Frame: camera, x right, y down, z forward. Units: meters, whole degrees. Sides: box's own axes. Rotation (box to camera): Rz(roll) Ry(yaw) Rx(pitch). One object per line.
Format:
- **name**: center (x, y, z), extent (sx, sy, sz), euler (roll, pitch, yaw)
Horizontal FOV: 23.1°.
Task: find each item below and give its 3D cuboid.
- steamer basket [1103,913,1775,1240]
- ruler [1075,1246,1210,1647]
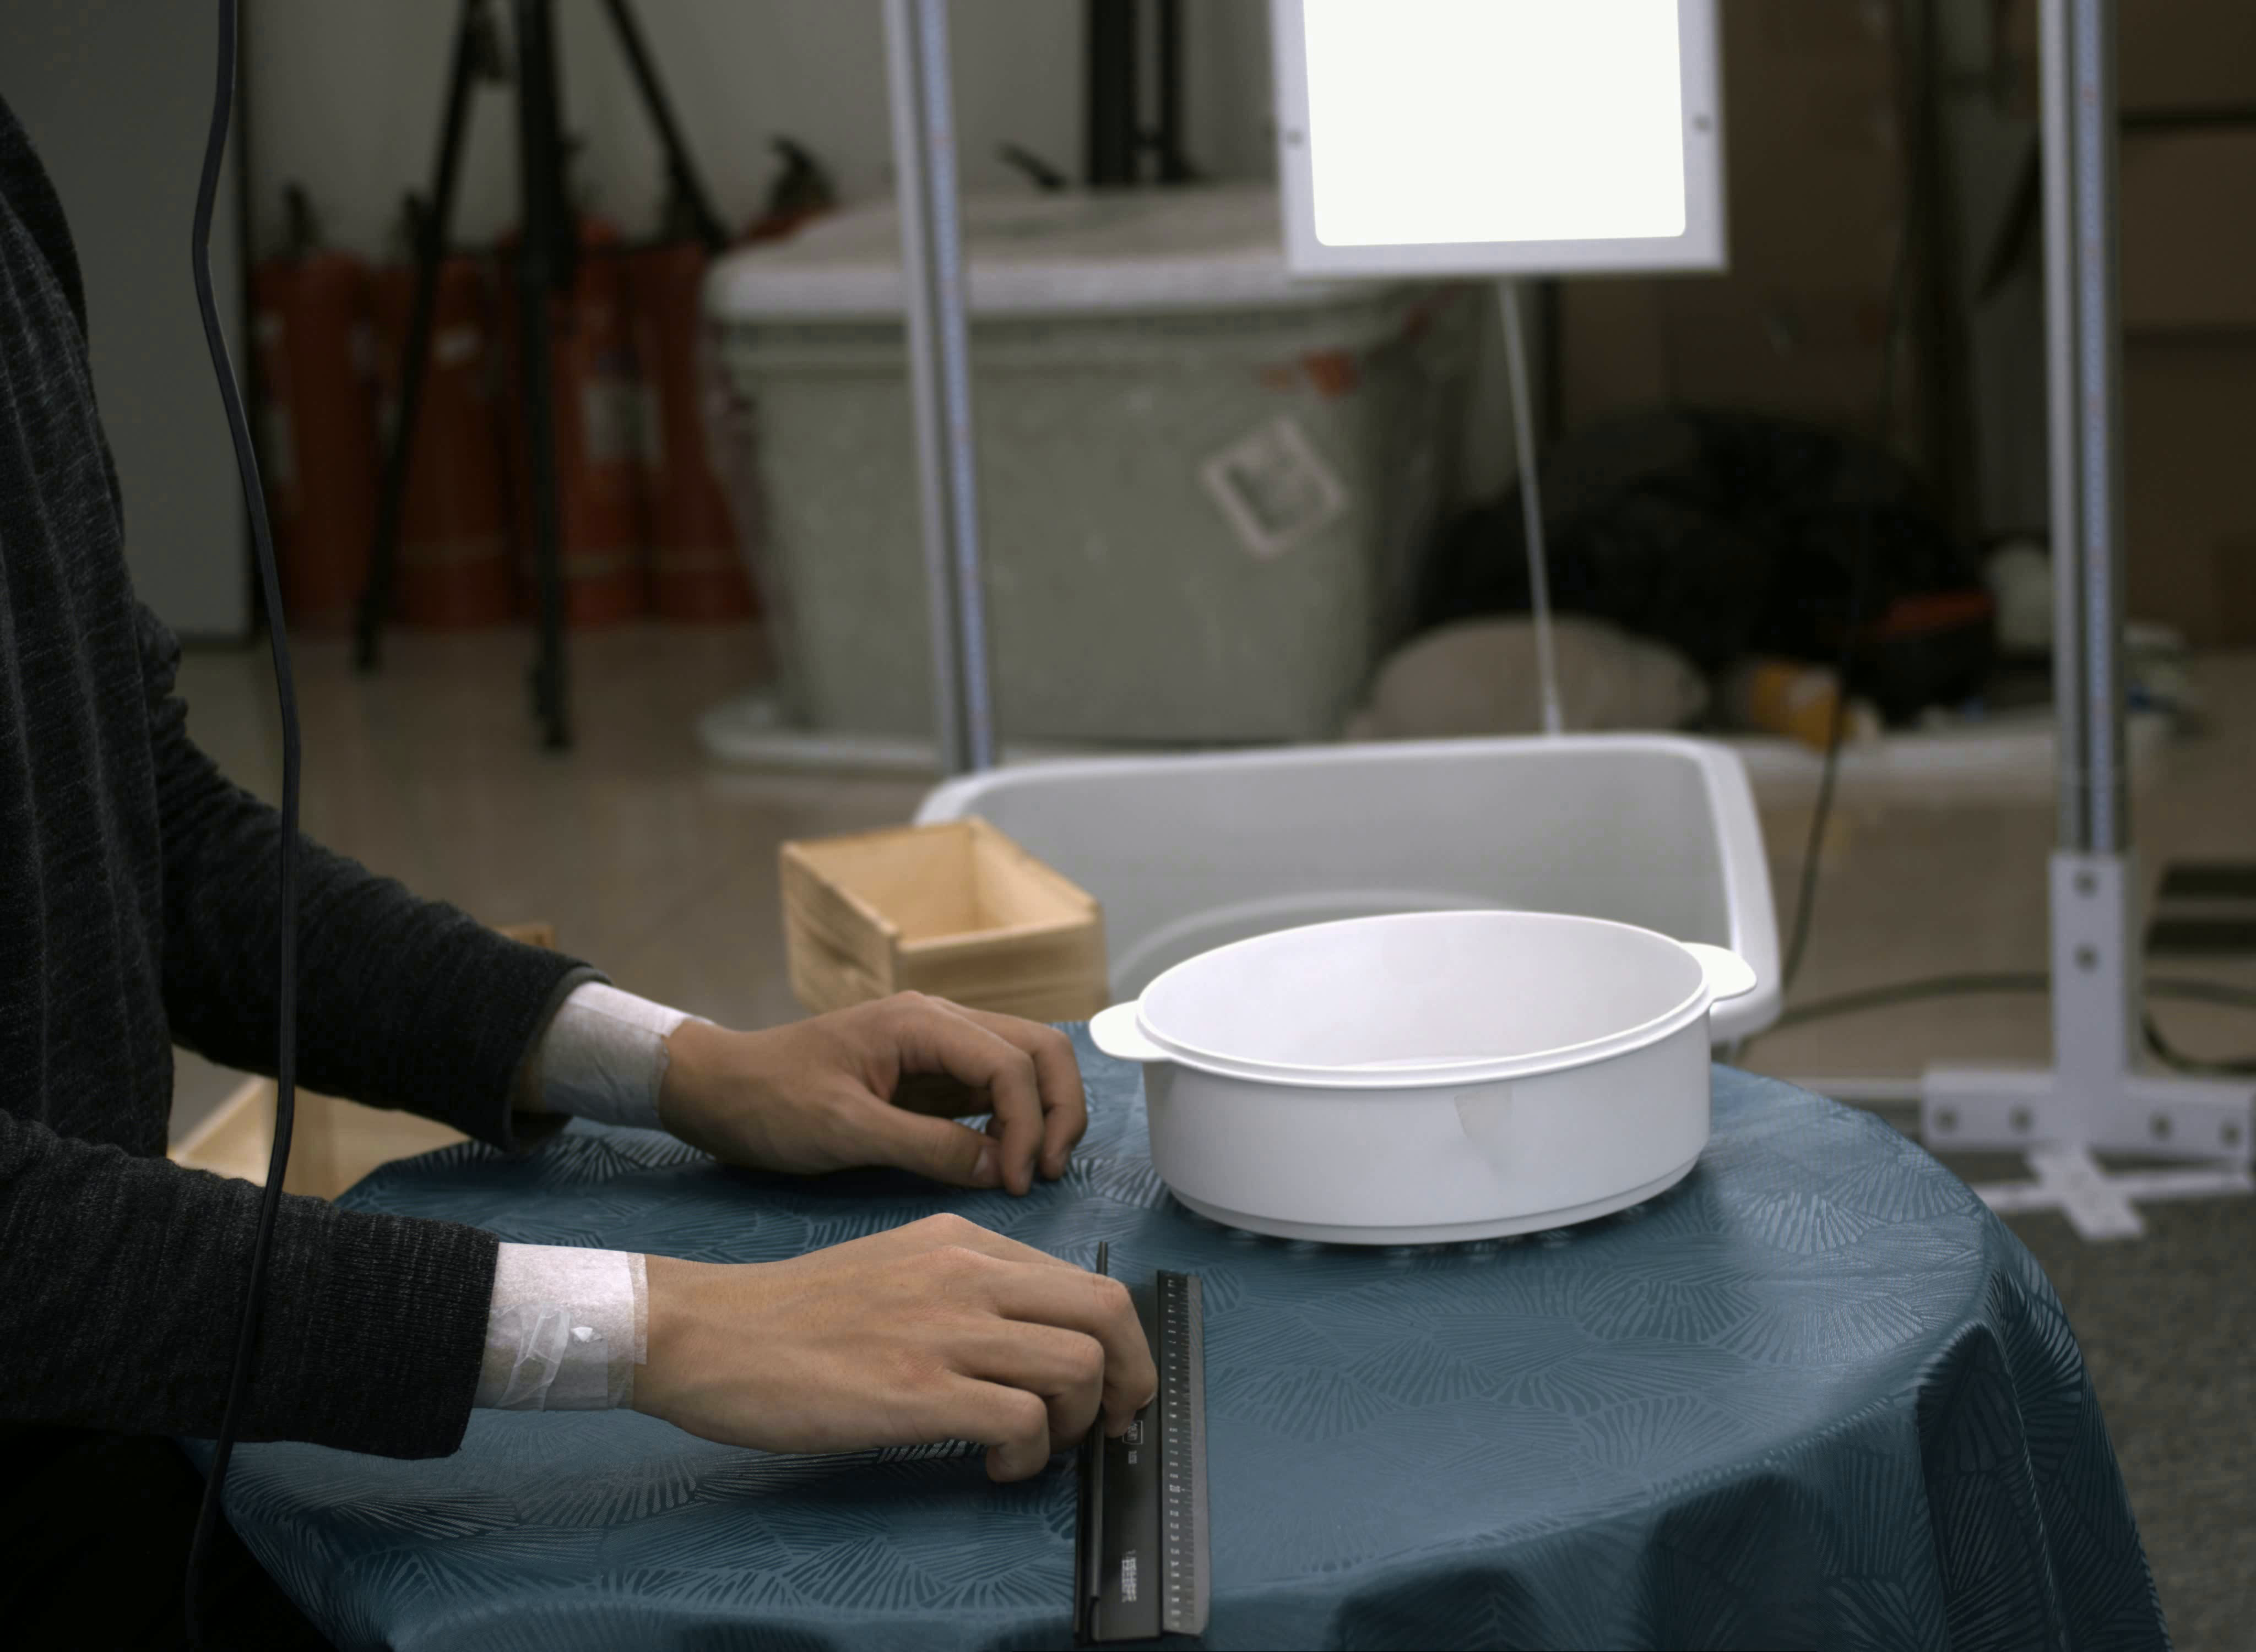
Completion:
- **steamer basket**: center (0.108, 0.086, 1.882), extent (0.229, 0.069, 0.202), euler (-4, 13, -6)
- **ruler**: center (0.006, 0.179, 1.649), extent (0.039, 0.017, 0.311), euler (-2, 14, 1)
